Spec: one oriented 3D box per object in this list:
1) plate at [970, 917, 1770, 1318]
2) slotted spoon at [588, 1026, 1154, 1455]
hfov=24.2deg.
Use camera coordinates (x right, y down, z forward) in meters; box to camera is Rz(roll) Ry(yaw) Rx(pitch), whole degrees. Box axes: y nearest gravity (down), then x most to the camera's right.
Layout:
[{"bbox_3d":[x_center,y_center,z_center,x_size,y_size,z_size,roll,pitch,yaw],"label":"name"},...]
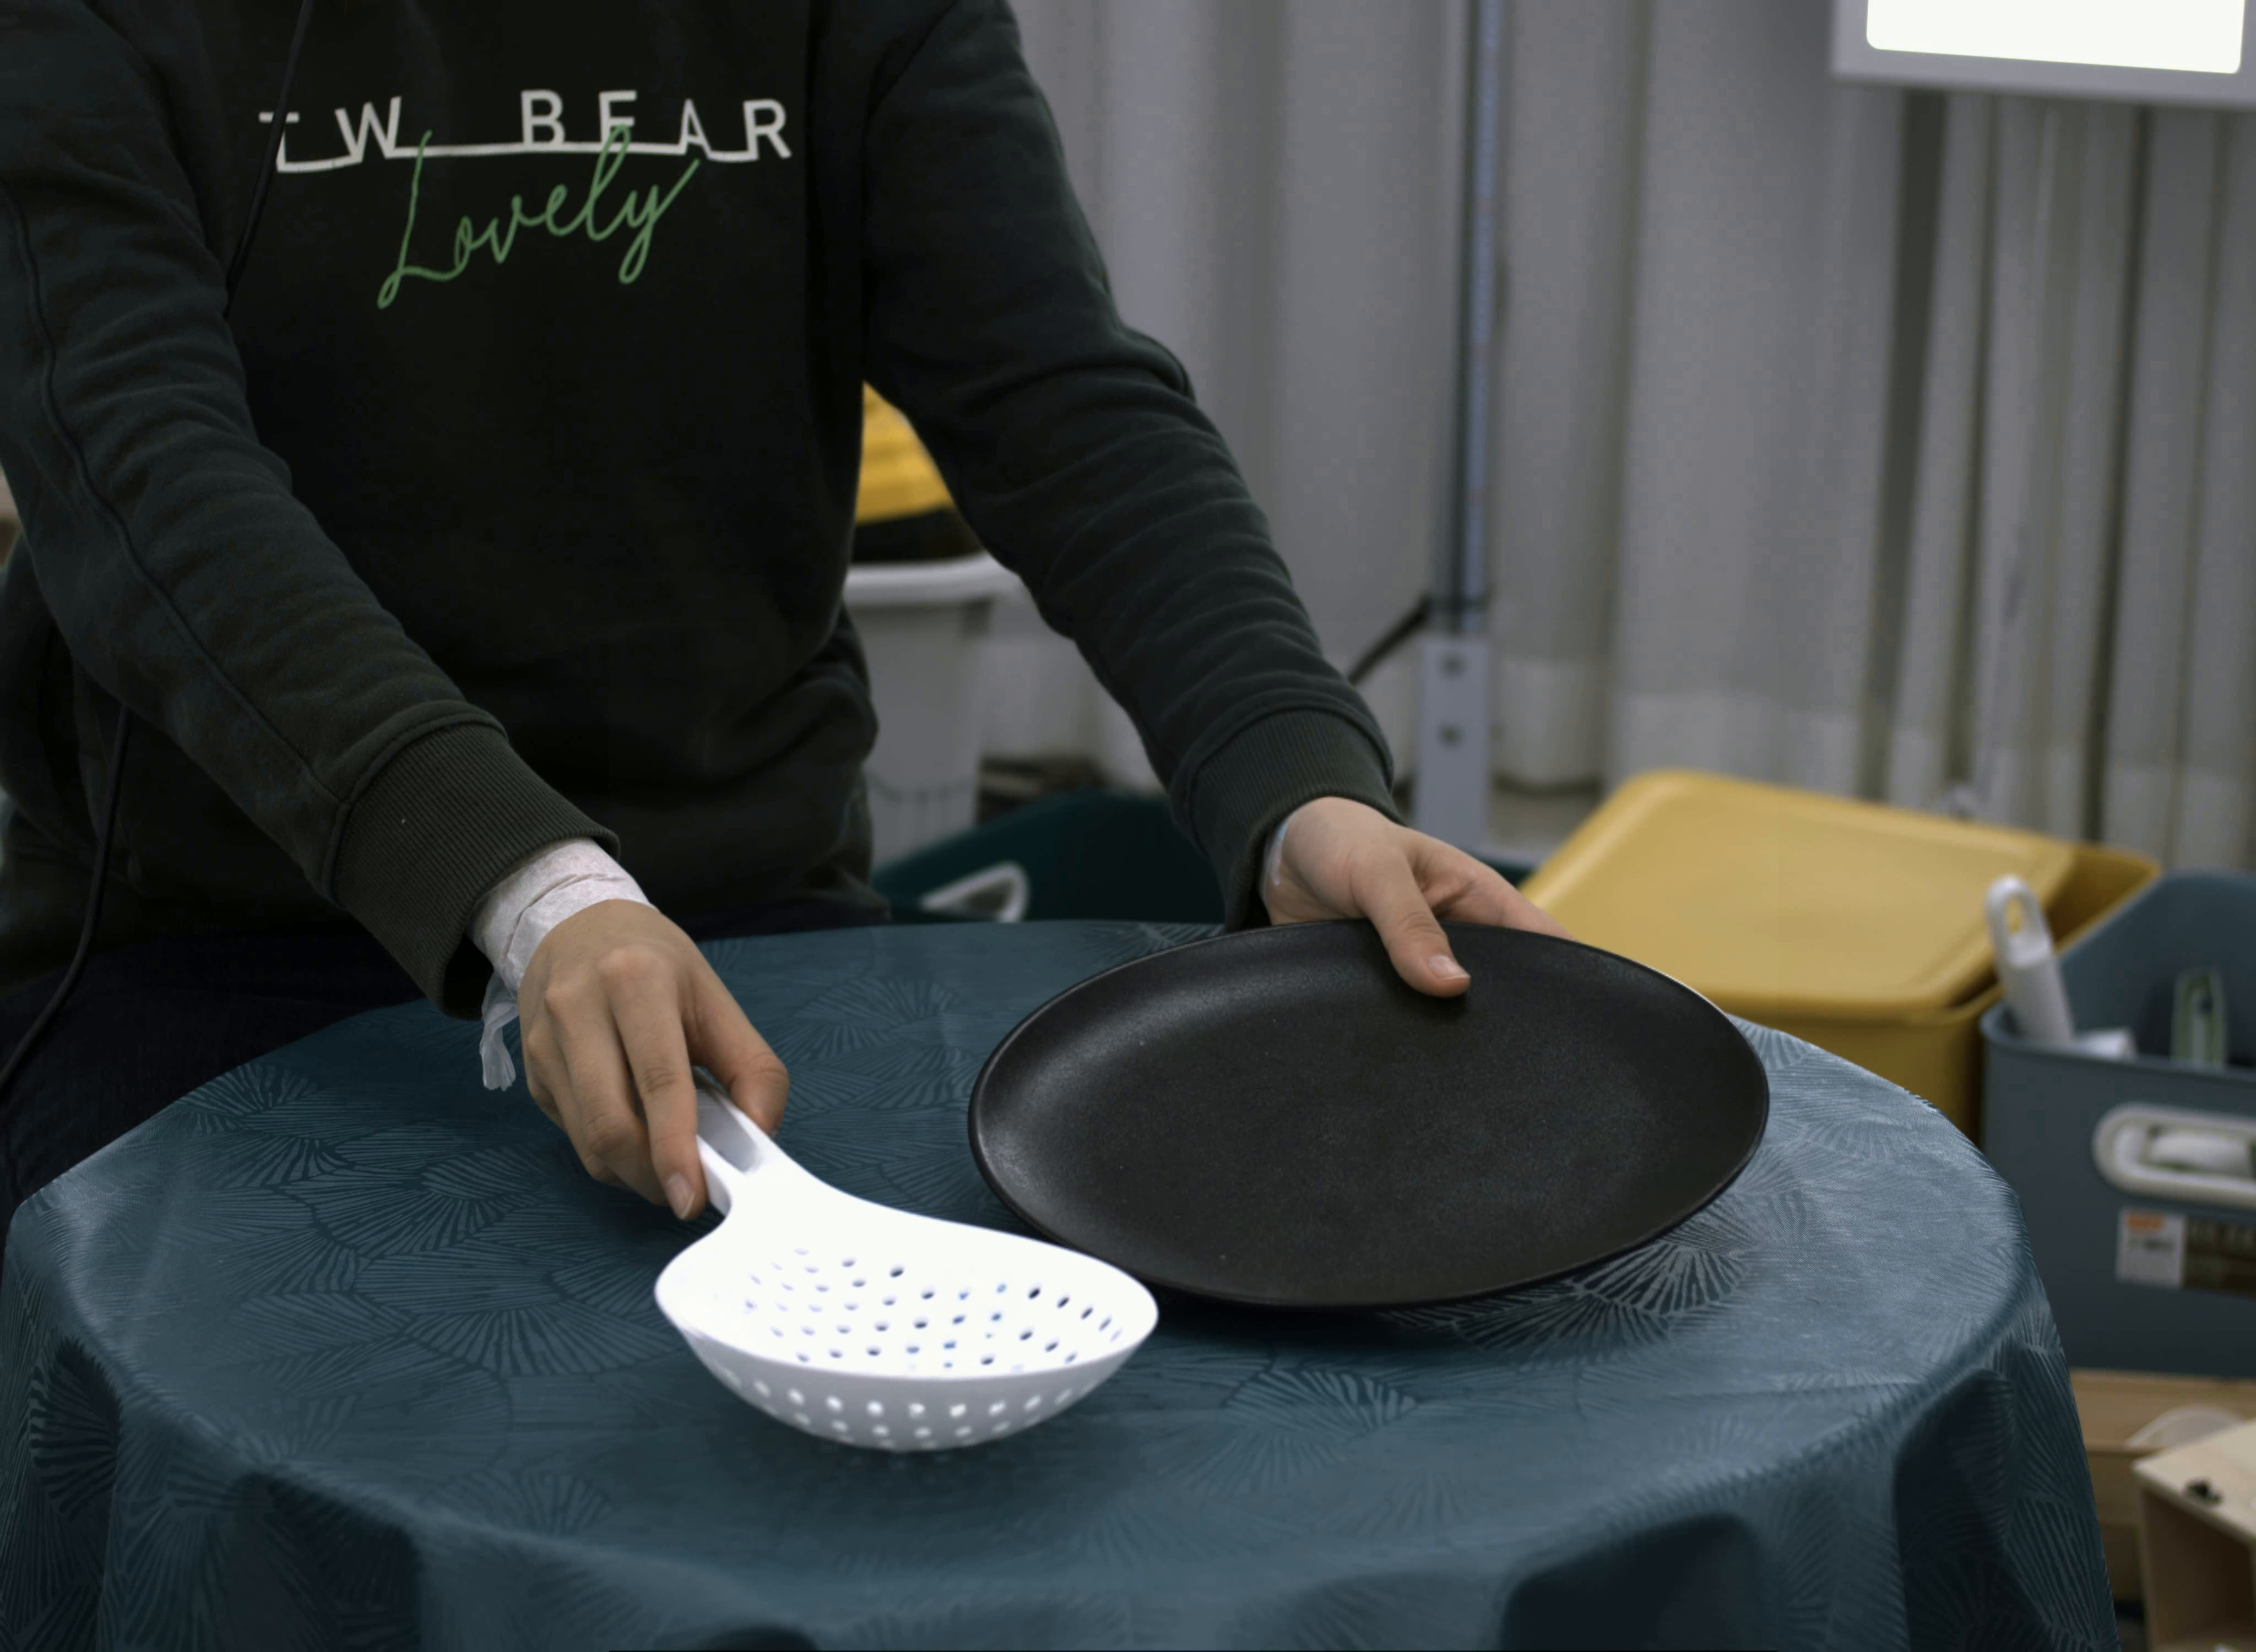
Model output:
[{"bbox_3d":[0.073,0.092,1.600,0.243,0.024,0.242,-2,26,2],"label":"plate"},{"bbox_3d":[-0.100,0.110,1.520,0.136,0.046,0.345,0,18,-22],"label":"slotted spoon"}]
